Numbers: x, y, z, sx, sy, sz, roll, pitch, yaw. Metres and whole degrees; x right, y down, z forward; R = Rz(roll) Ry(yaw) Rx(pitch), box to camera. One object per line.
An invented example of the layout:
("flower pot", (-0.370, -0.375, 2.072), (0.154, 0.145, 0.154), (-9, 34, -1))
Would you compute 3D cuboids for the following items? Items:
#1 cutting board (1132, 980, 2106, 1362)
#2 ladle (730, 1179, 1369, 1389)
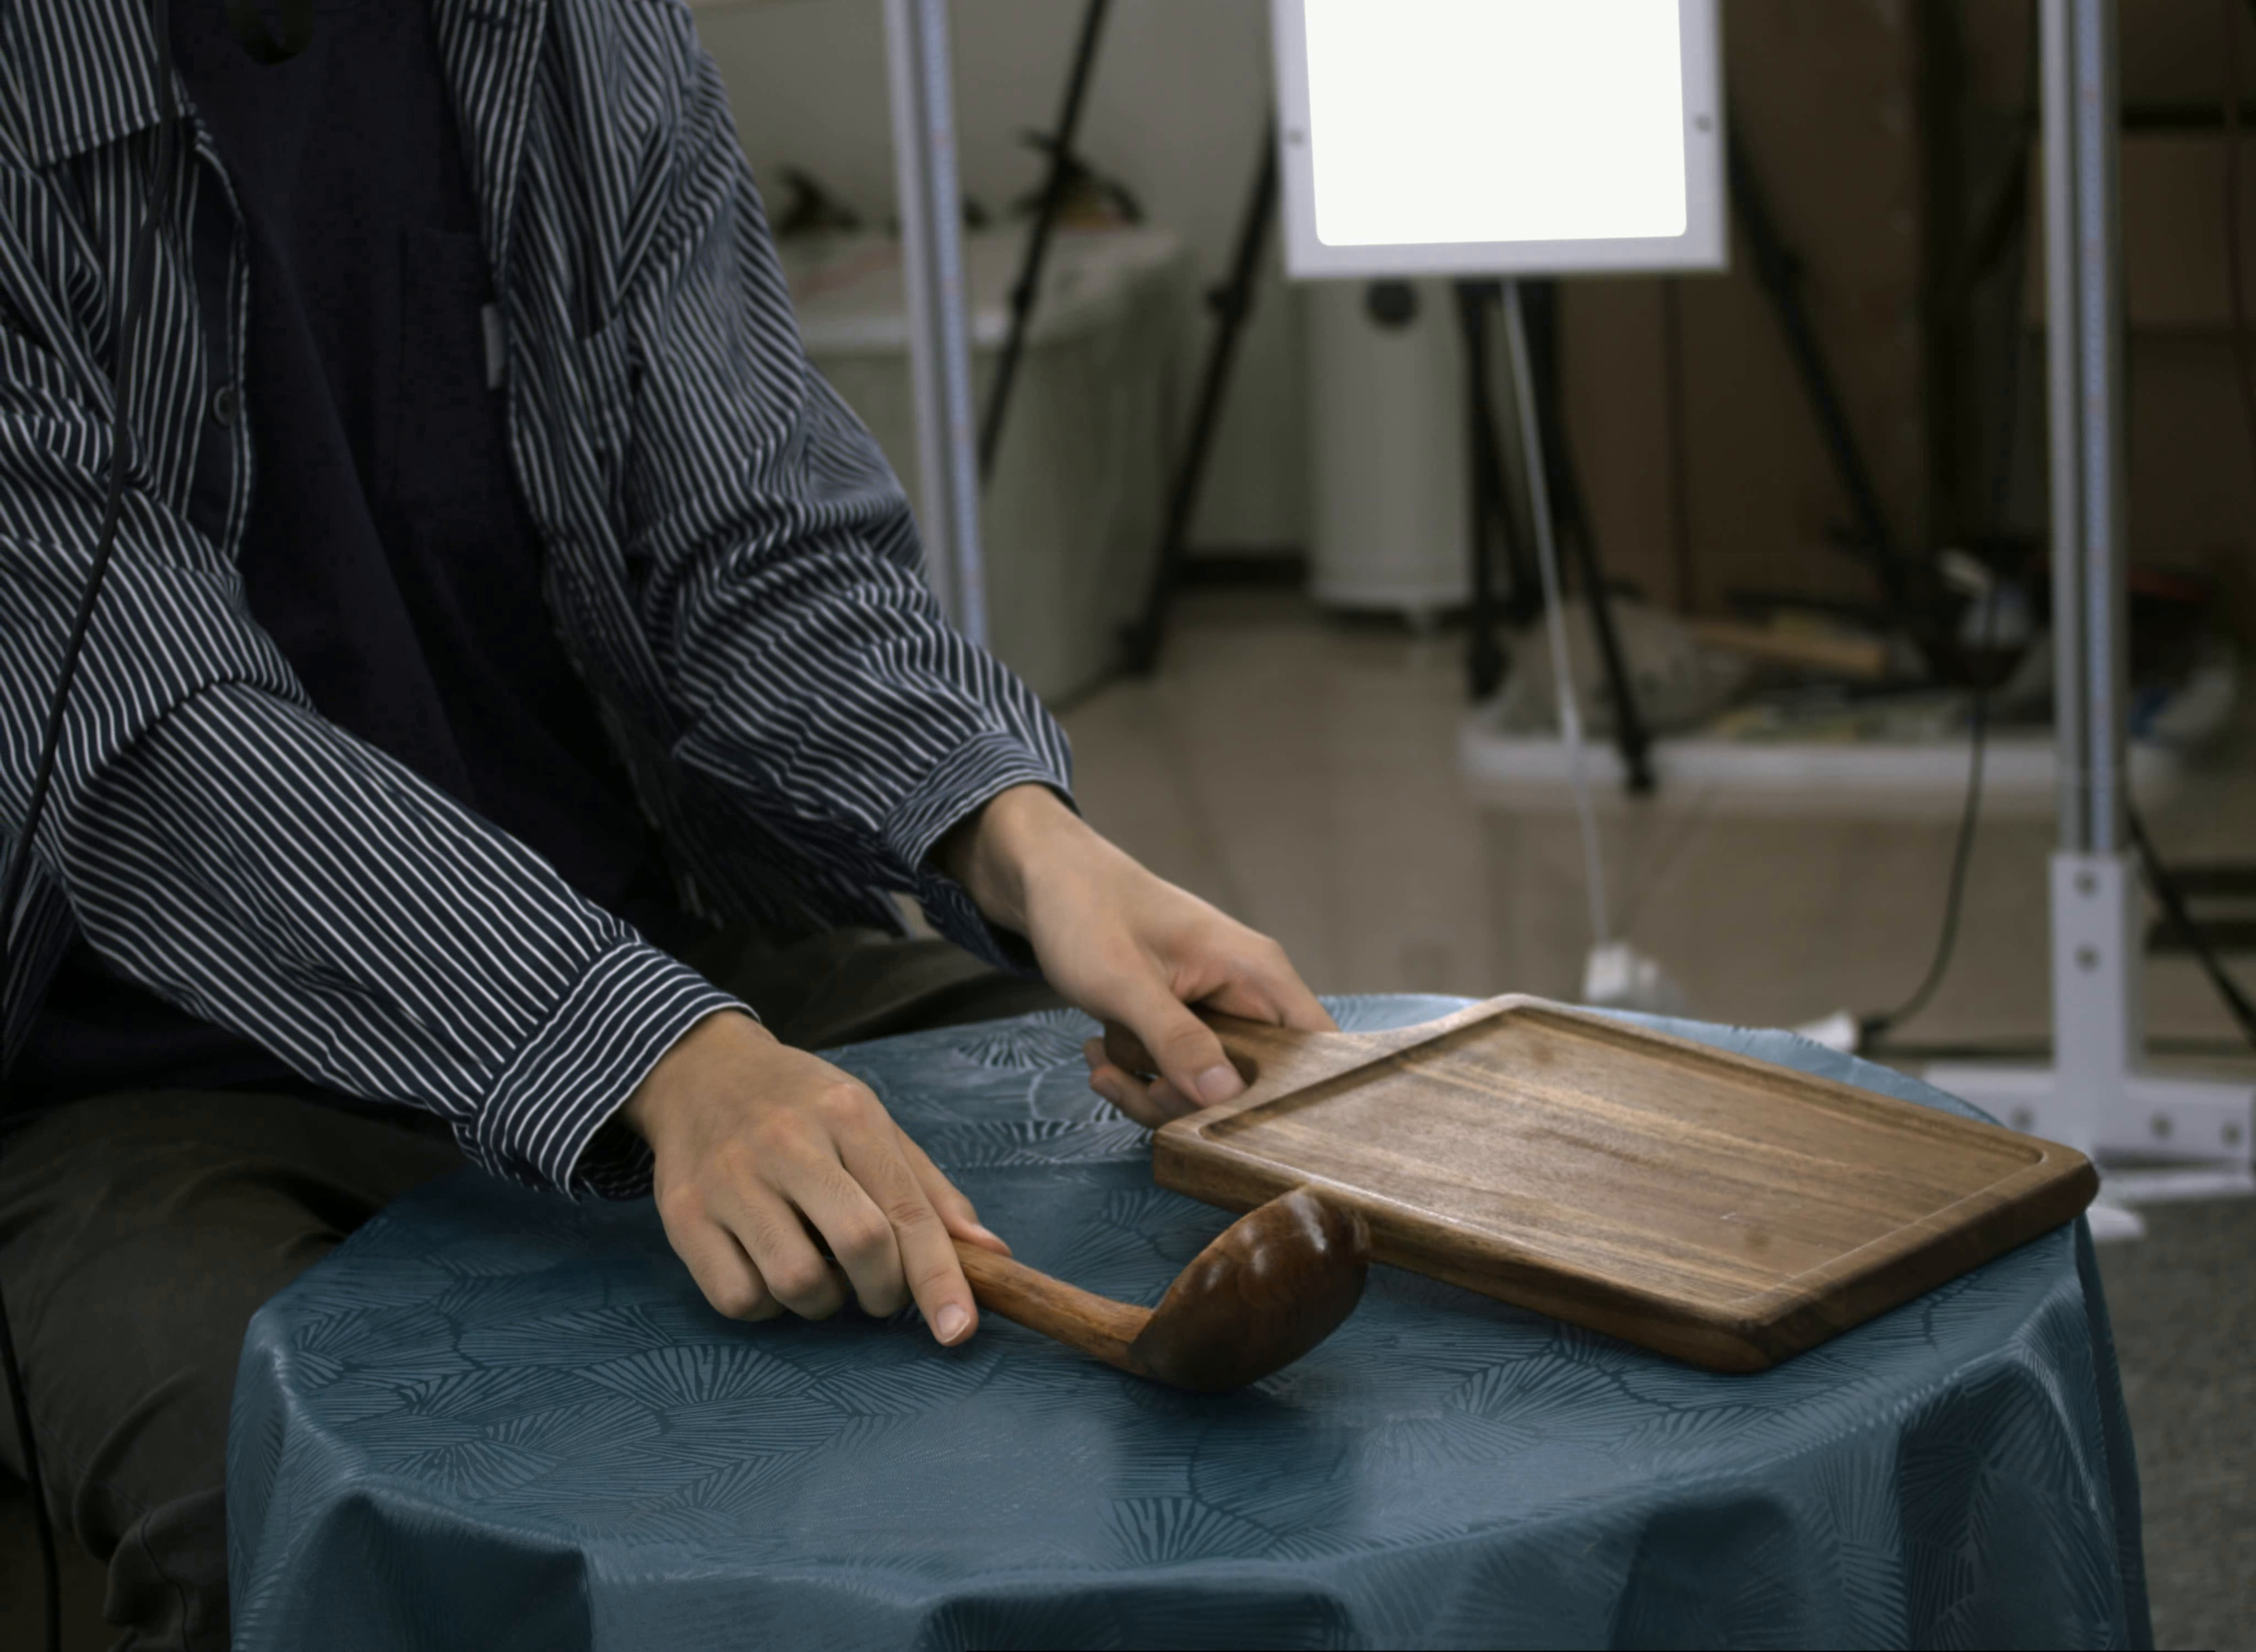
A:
("cutting board", (0.136, 0.100, 1.842), (0.359, 0.023, 0.196), (15, 24, 43))
("ladle", (-0.035, 0.122, 1.745), (0.080, 0.077, 0.280), (-9, 16, -42))
